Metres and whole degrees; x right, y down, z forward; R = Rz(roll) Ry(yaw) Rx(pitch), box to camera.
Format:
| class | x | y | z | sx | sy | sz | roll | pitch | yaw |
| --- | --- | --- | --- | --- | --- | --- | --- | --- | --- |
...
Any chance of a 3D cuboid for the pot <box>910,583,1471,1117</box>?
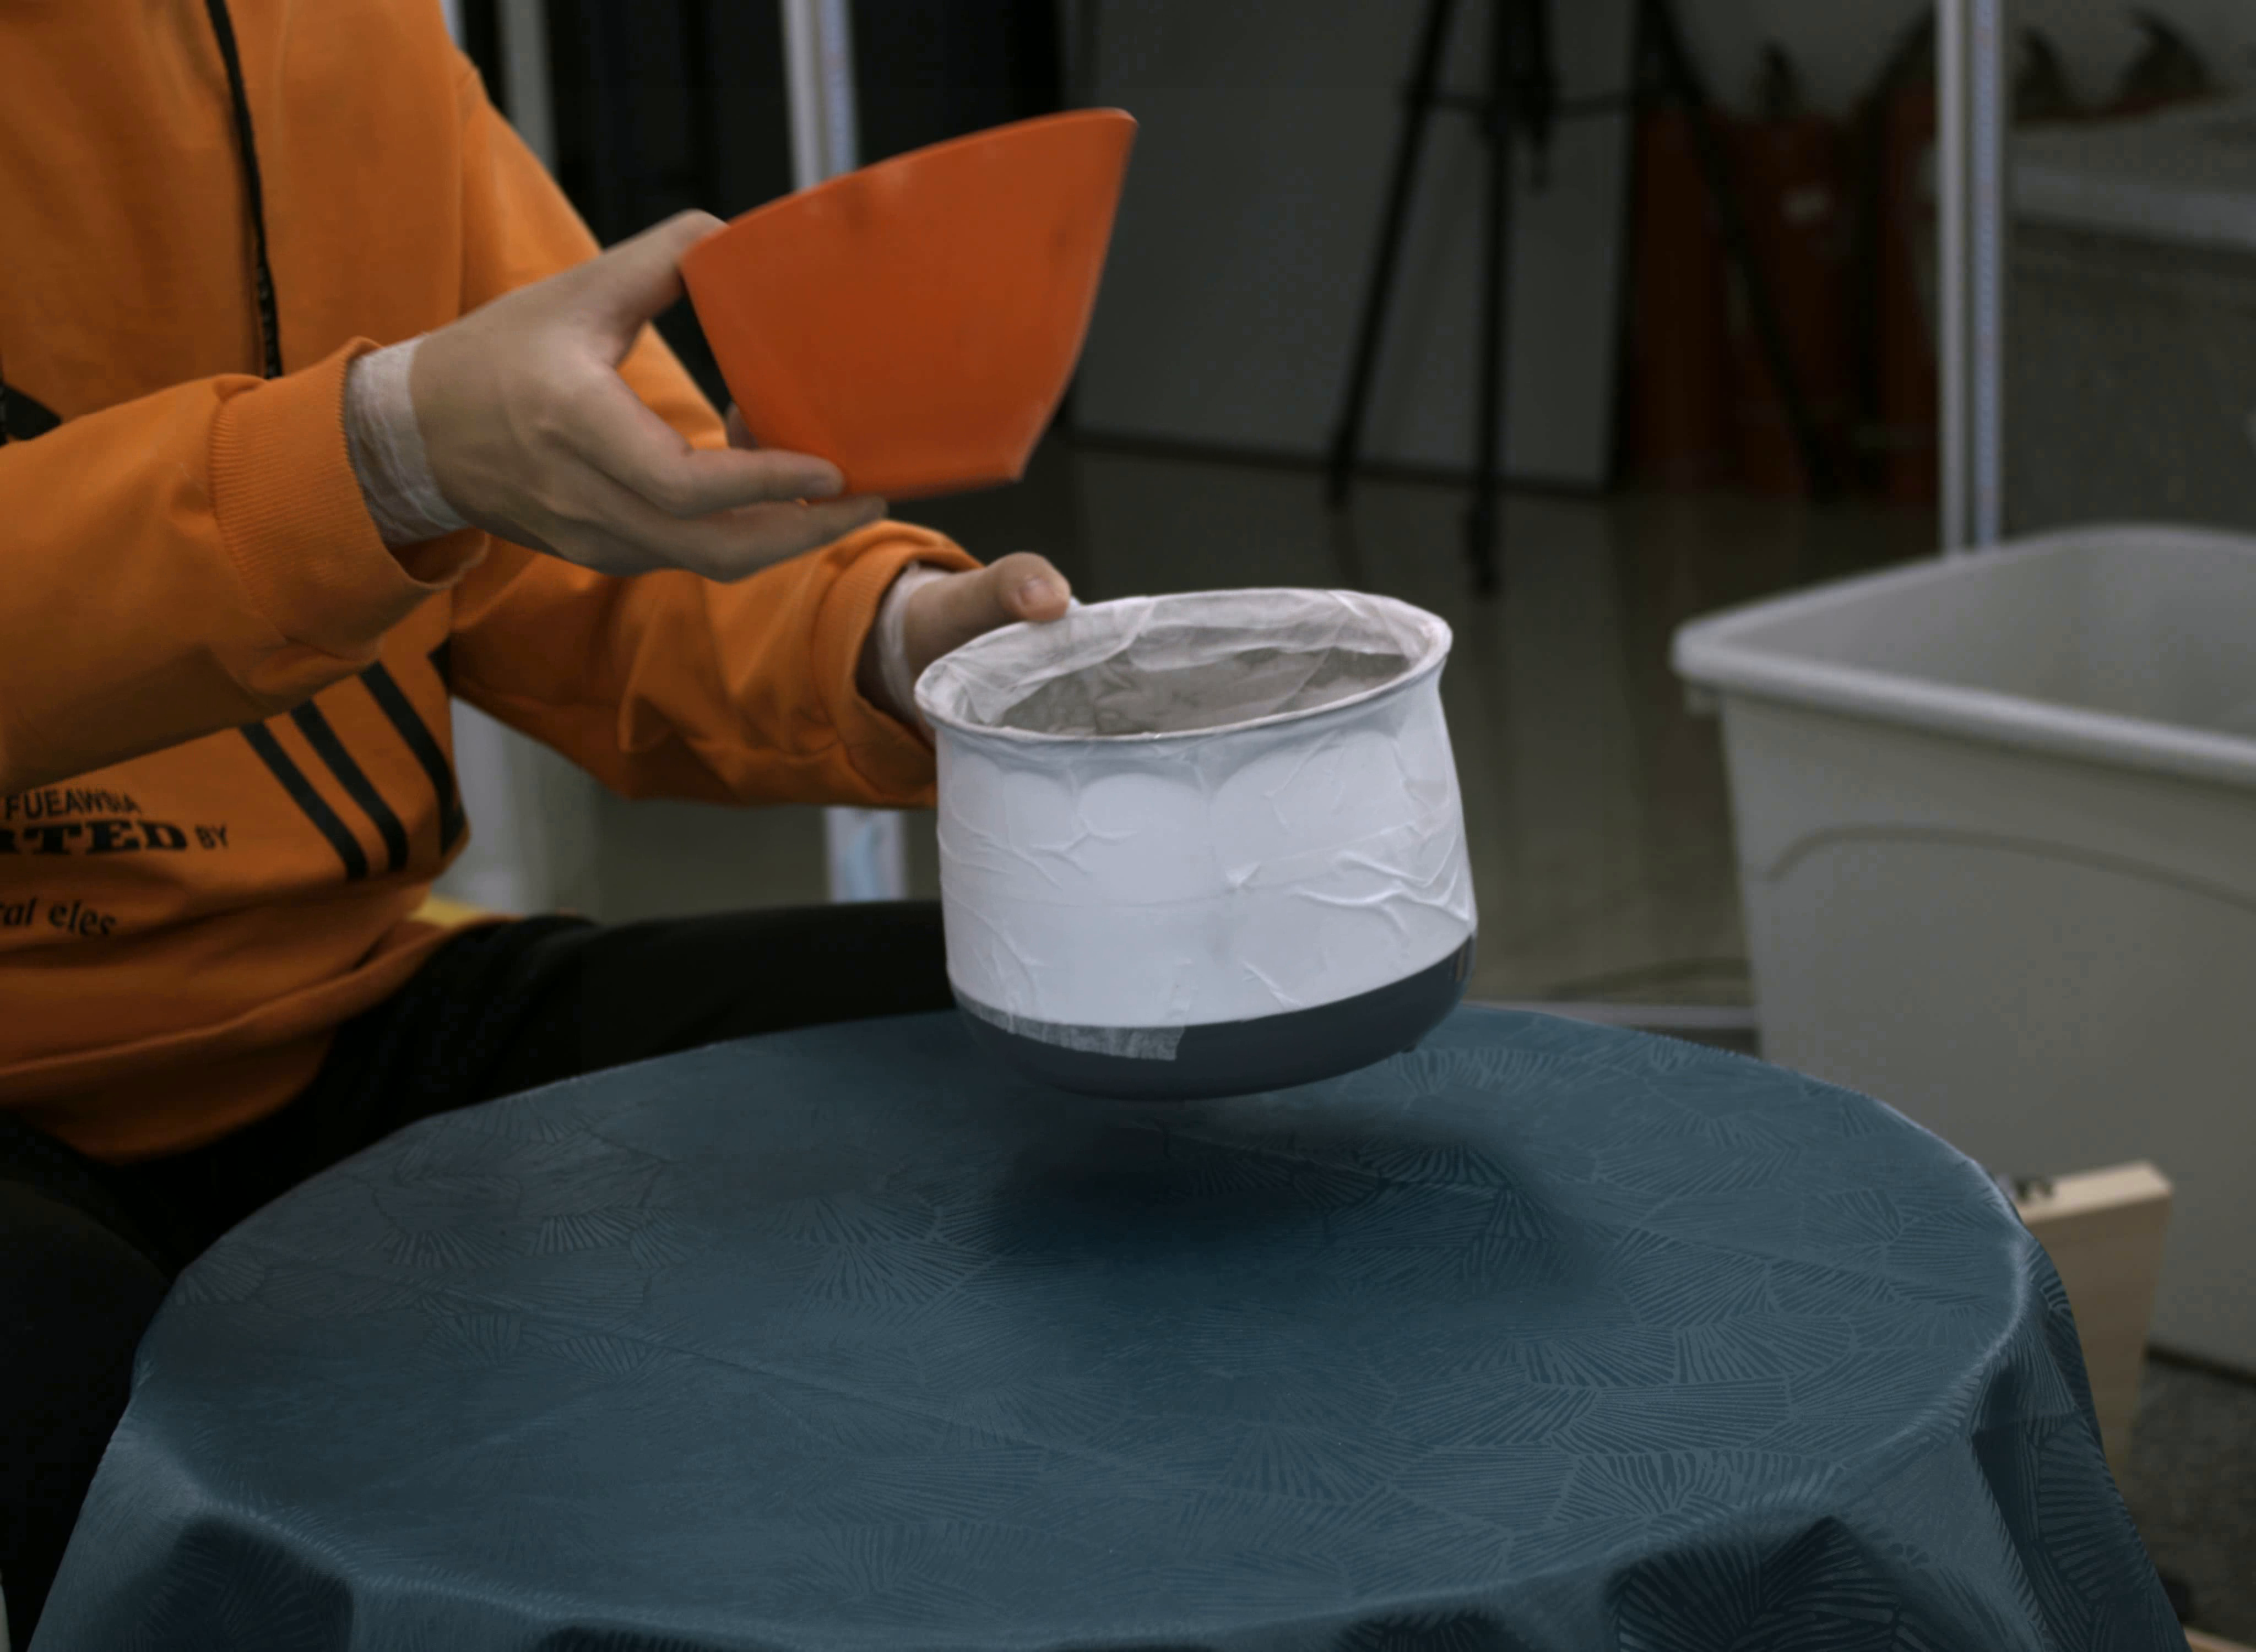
| class | x | y | z | sx | sy | sz | roll | pitch | yaw |
| --- | --- | --- | --- | --- | --- | --- | --- | --- | --- |
| pot | 0.010 | 0.001 | 1.788 | 0.175 | 0.138 | 0.236 | -13 | 17 | -23 |

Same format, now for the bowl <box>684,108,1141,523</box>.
| class | x | y | z | sx | sy | sz | roll | pitch | yaw |
| --- | --- | --- | --- | --- | --- | --- | --- | --- | --- |
| bowl | -0.060 | -0.151 | 1.658 | 0.146 | 0.106 | 0.148 | -9 | -2 | -1 |
